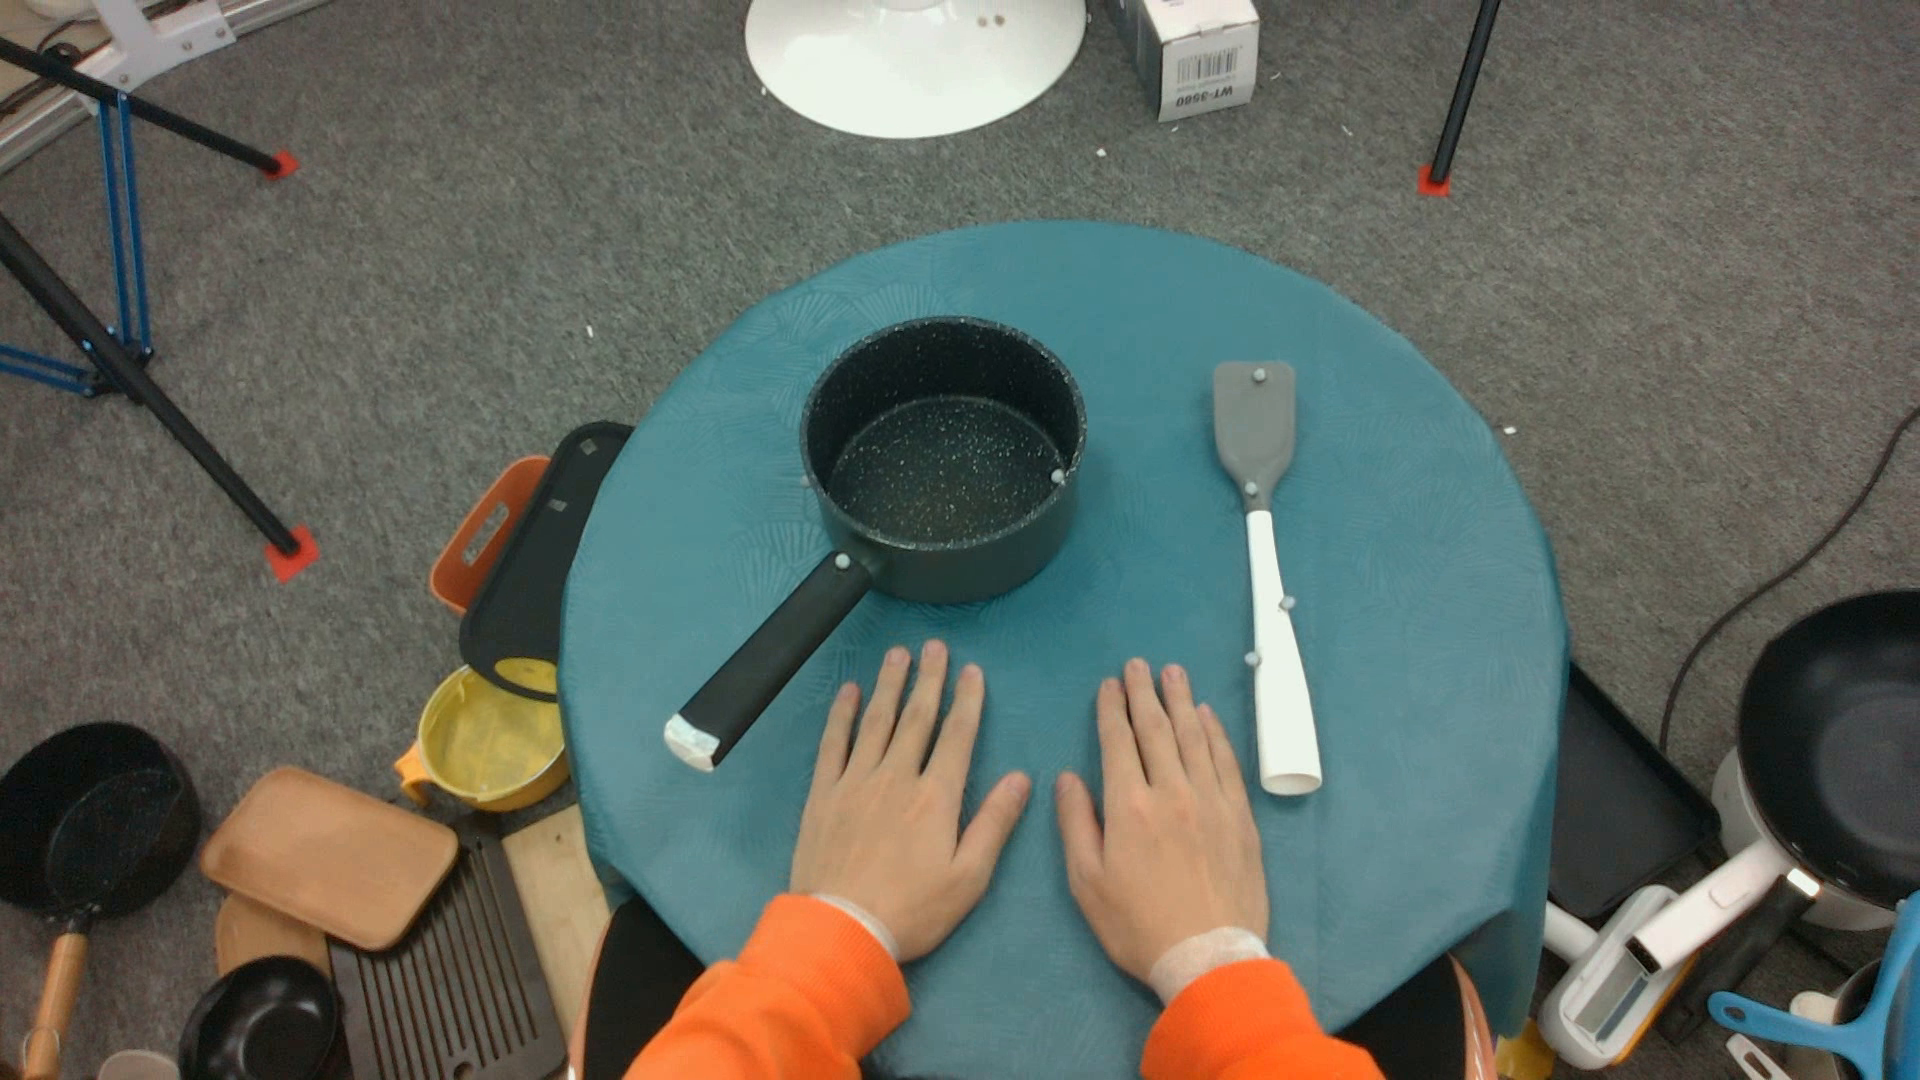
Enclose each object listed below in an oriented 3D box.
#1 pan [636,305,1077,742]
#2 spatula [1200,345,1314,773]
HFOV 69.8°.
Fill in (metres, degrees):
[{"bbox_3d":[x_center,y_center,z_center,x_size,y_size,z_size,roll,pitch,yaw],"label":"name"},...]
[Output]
[{"bbox_3d":[-0.060,0.000,0.803,0.172,0.086,0.330,29,61,20],"label":"pan"},{"bbox_3d":[0.180,0.000,0.824,0.058,0.032,0.289,-2,58,7],"label":"spatula"}]
